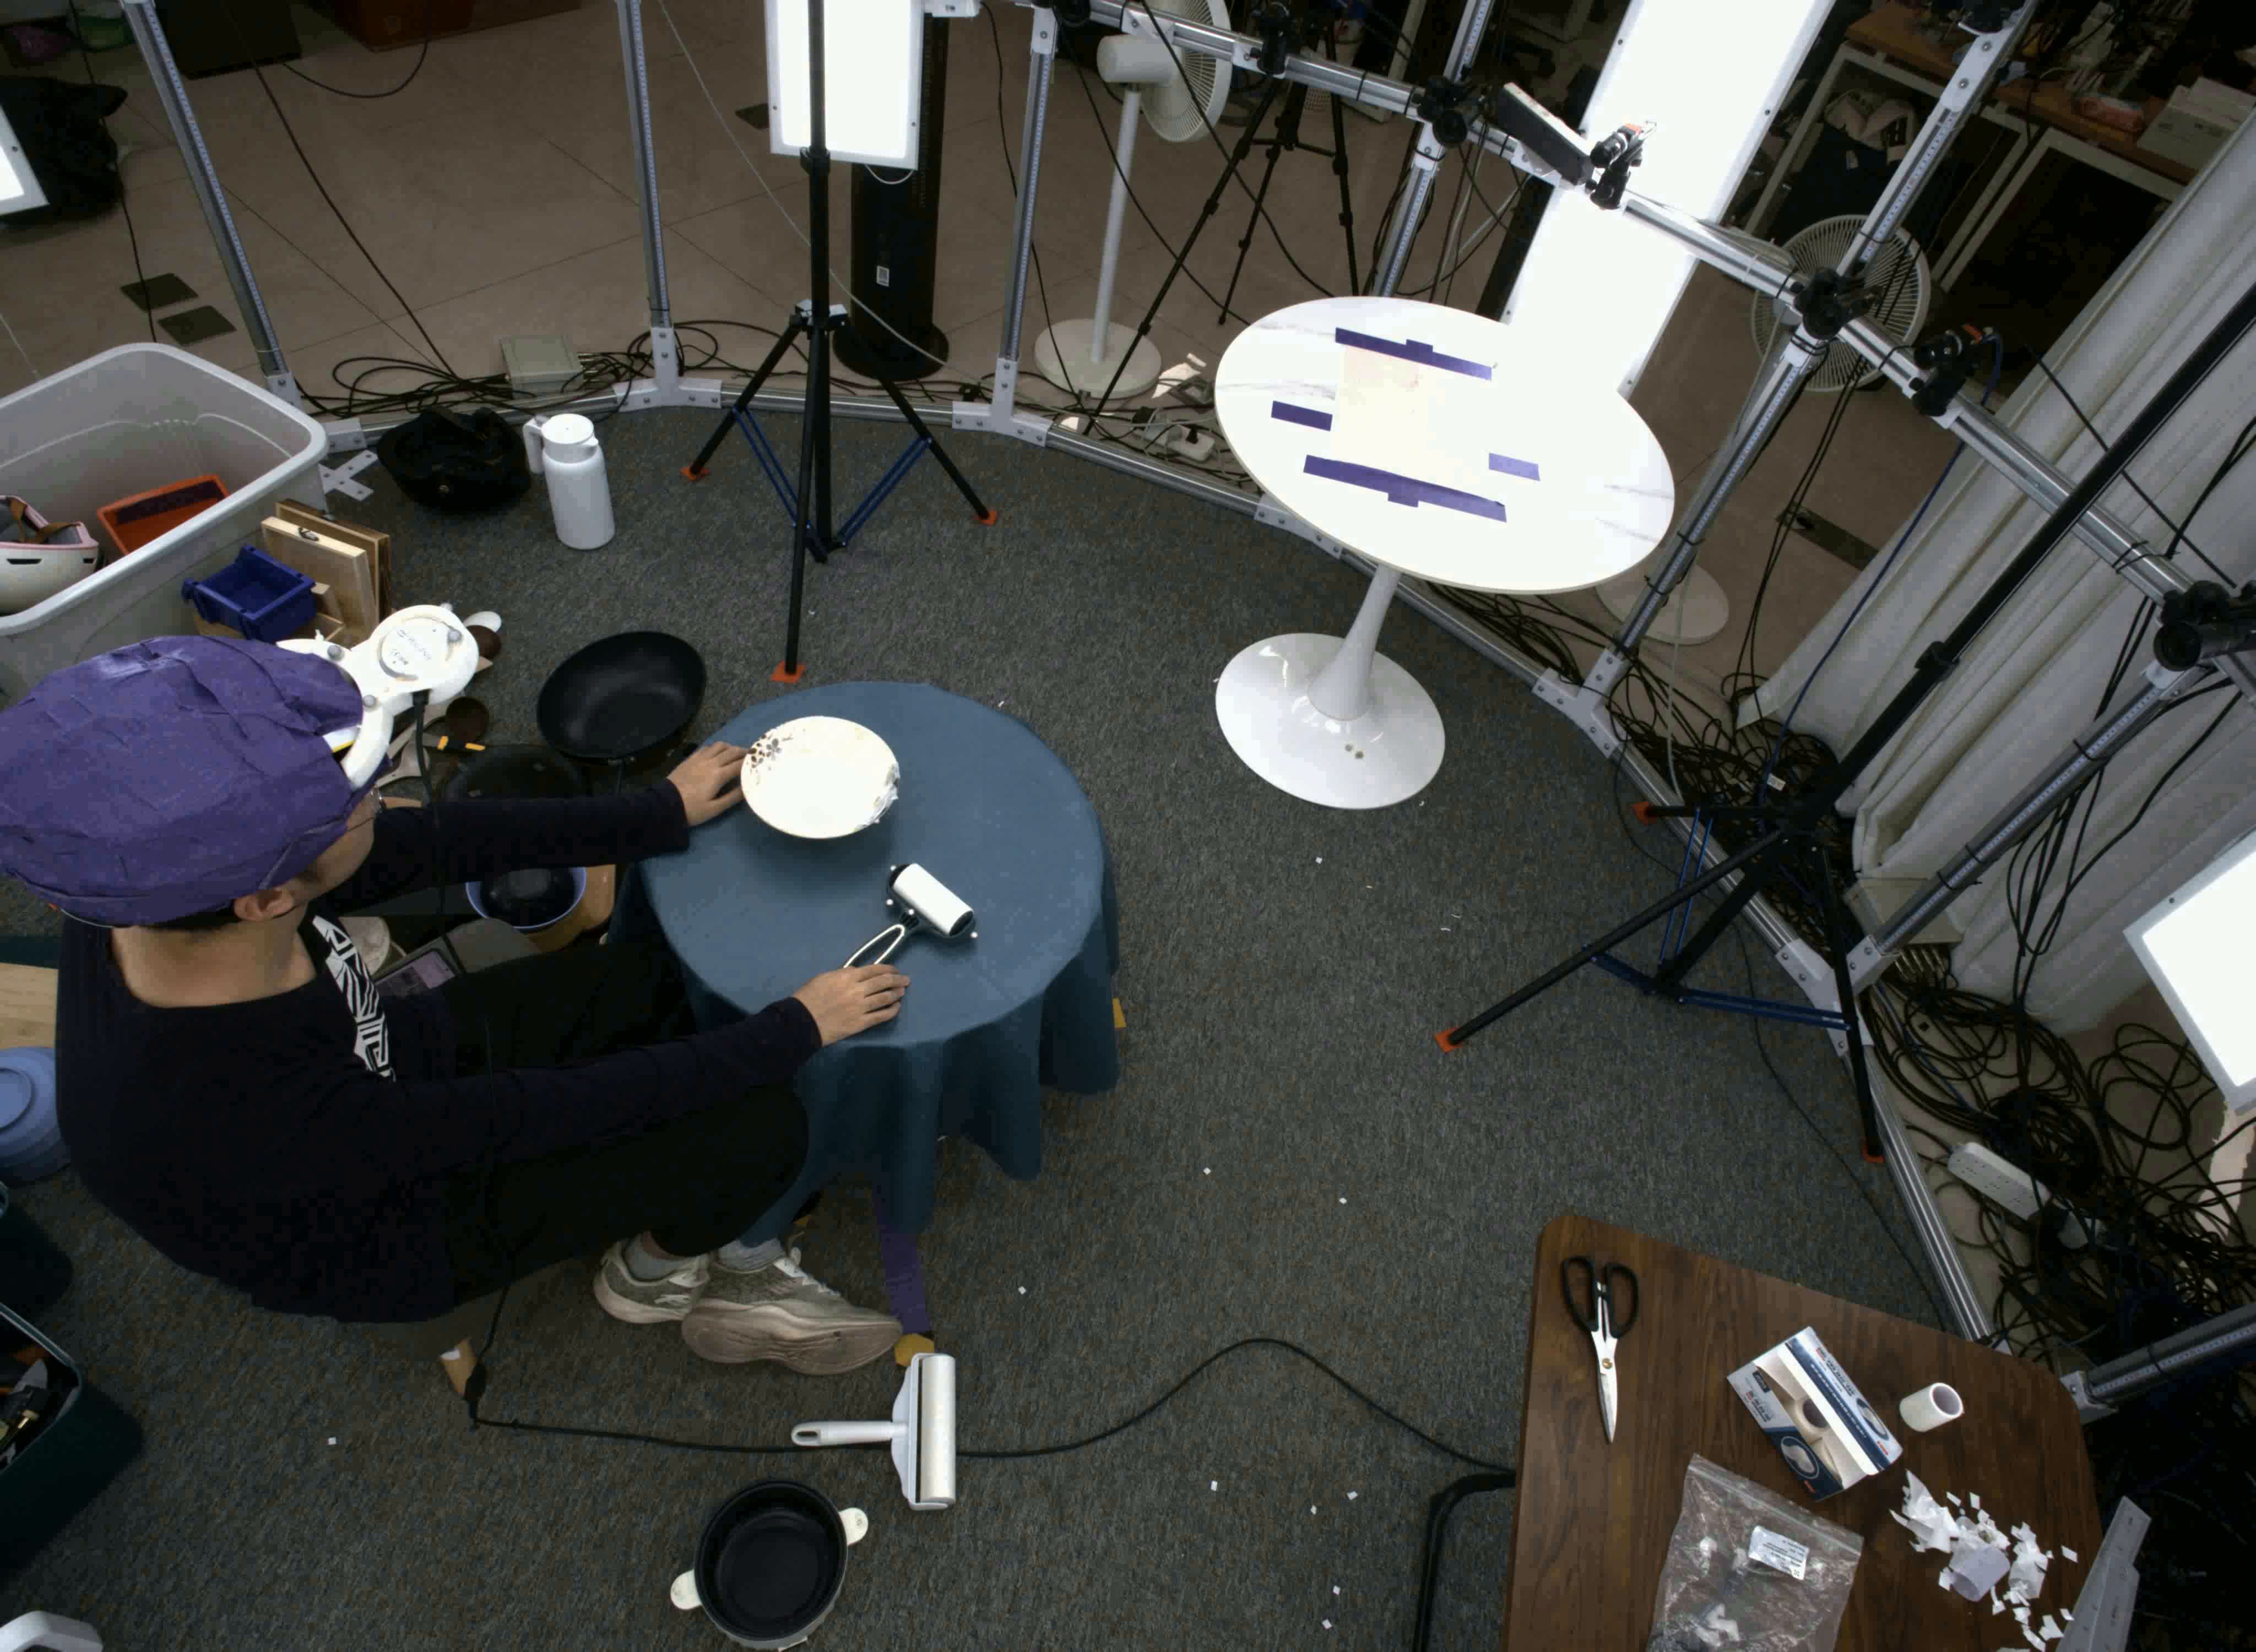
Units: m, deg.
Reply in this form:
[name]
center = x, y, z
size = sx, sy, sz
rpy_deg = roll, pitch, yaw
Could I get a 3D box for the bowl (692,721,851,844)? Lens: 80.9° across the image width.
[bowl]
center = -0.465, -0.038, 1.703
size = 0.203, 0.079, 0.200
rpy_deg = 6, 53, -7

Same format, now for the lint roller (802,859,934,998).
[lint roller]
center = -0.344, 0.138, 1.629
size = 0.132, 0.049, 0.180
rpy_deg = 36, 59, 13
